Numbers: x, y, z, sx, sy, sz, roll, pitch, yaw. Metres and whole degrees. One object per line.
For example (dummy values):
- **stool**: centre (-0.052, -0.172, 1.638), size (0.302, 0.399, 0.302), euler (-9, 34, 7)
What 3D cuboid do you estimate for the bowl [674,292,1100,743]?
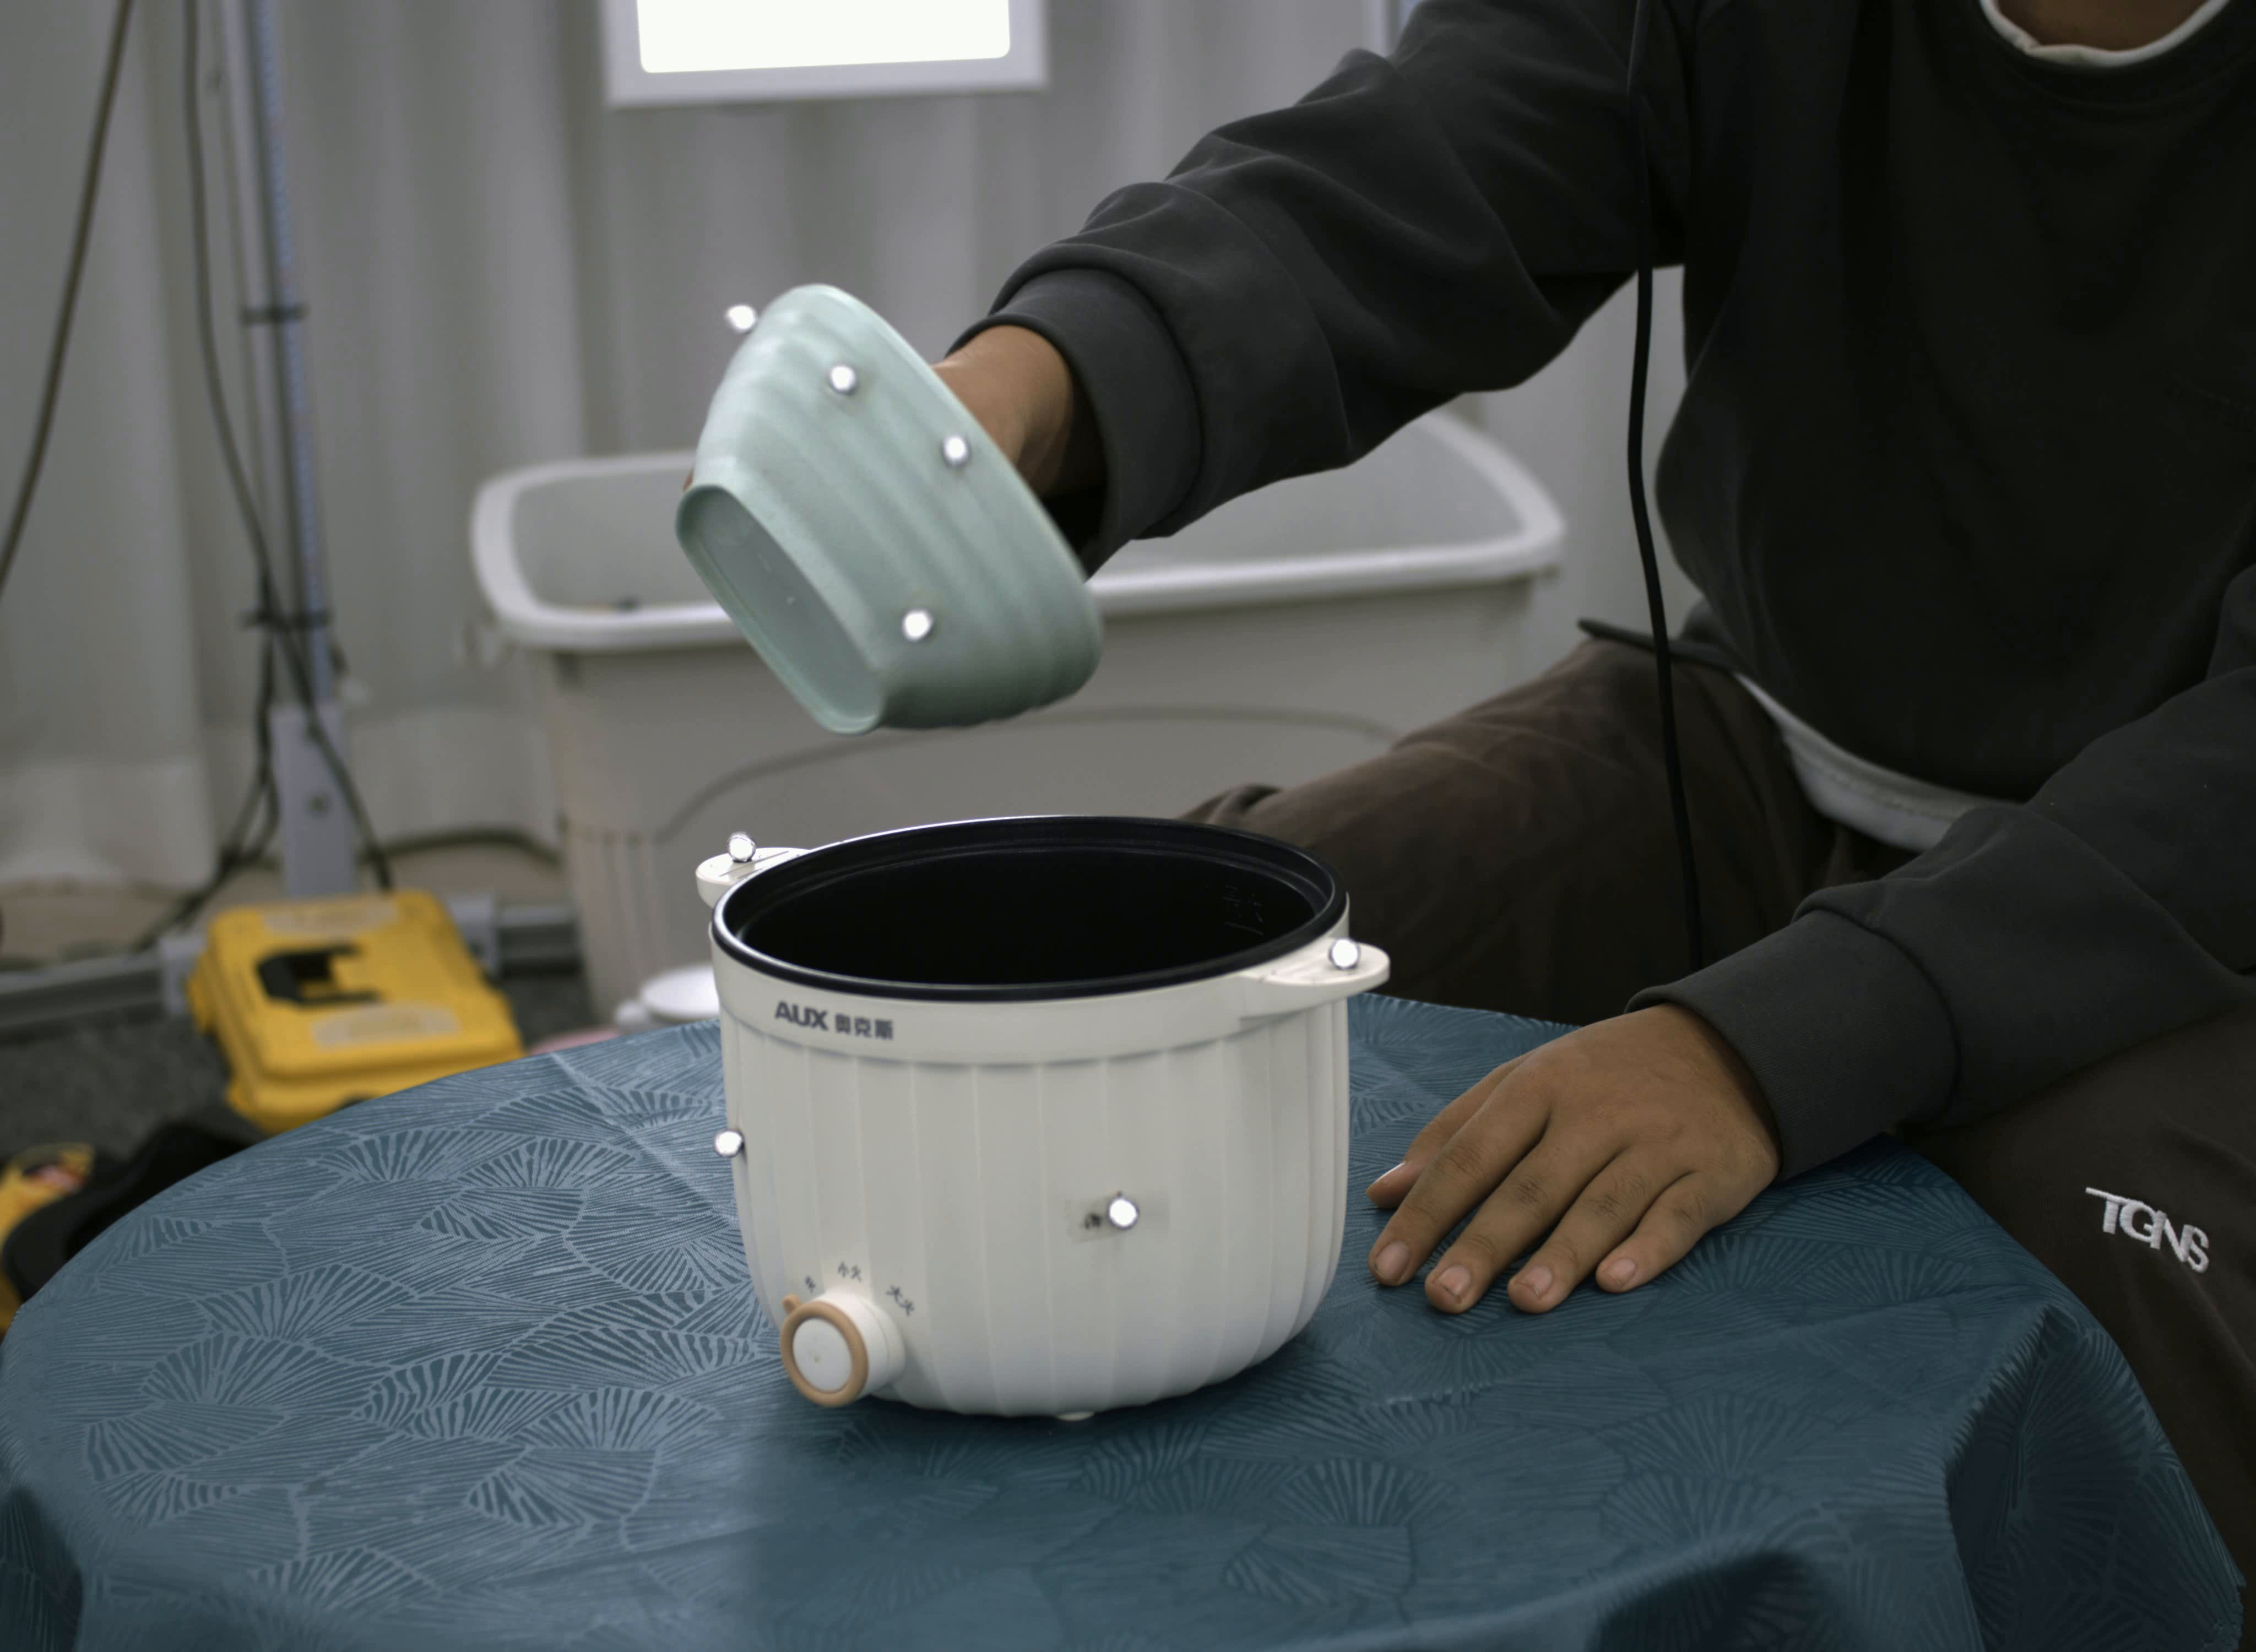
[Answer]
- **bowl**: centre (-0.077, -0.076, 1.536), size (0.059, 0.150, 0.152), euler (-40, 29, -17)

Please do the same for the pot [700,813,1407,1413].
- **pot**: centre (-0.025, 0.084, 1.564), size (0.241, 0.142, 0.190), euler (6, 13, 36)
